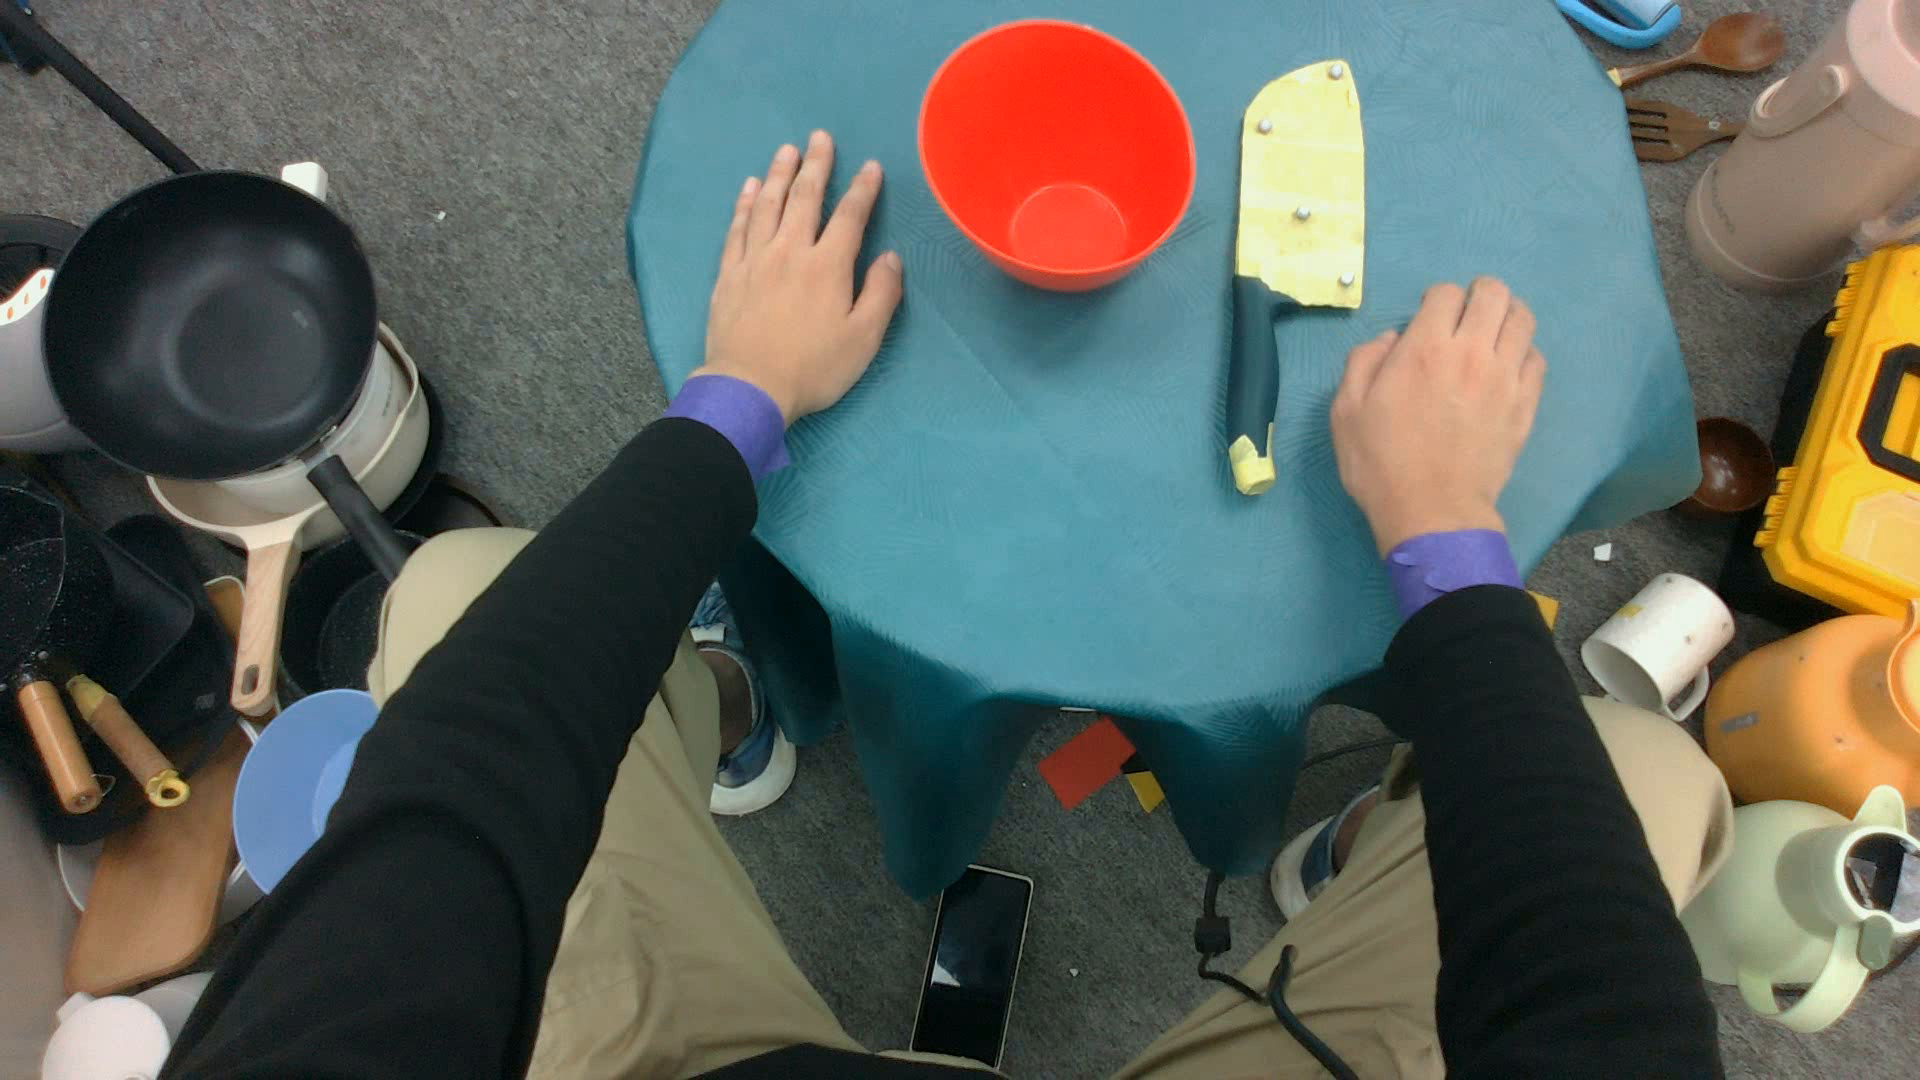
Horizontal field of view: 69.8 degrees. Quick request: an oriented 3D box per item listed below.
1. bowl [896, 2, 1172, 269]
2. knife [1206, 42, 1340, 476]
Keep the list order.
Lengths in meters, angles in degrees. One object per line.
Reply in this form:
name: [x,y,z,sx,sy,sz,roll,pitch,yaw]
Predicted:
bowl: [0.040,-0.208,0.765,0.148,0.104,0.148,0,71,-1]
knife: [0.180,-0.171,0.800,0.081,0.027,0.290,7,72,4]
